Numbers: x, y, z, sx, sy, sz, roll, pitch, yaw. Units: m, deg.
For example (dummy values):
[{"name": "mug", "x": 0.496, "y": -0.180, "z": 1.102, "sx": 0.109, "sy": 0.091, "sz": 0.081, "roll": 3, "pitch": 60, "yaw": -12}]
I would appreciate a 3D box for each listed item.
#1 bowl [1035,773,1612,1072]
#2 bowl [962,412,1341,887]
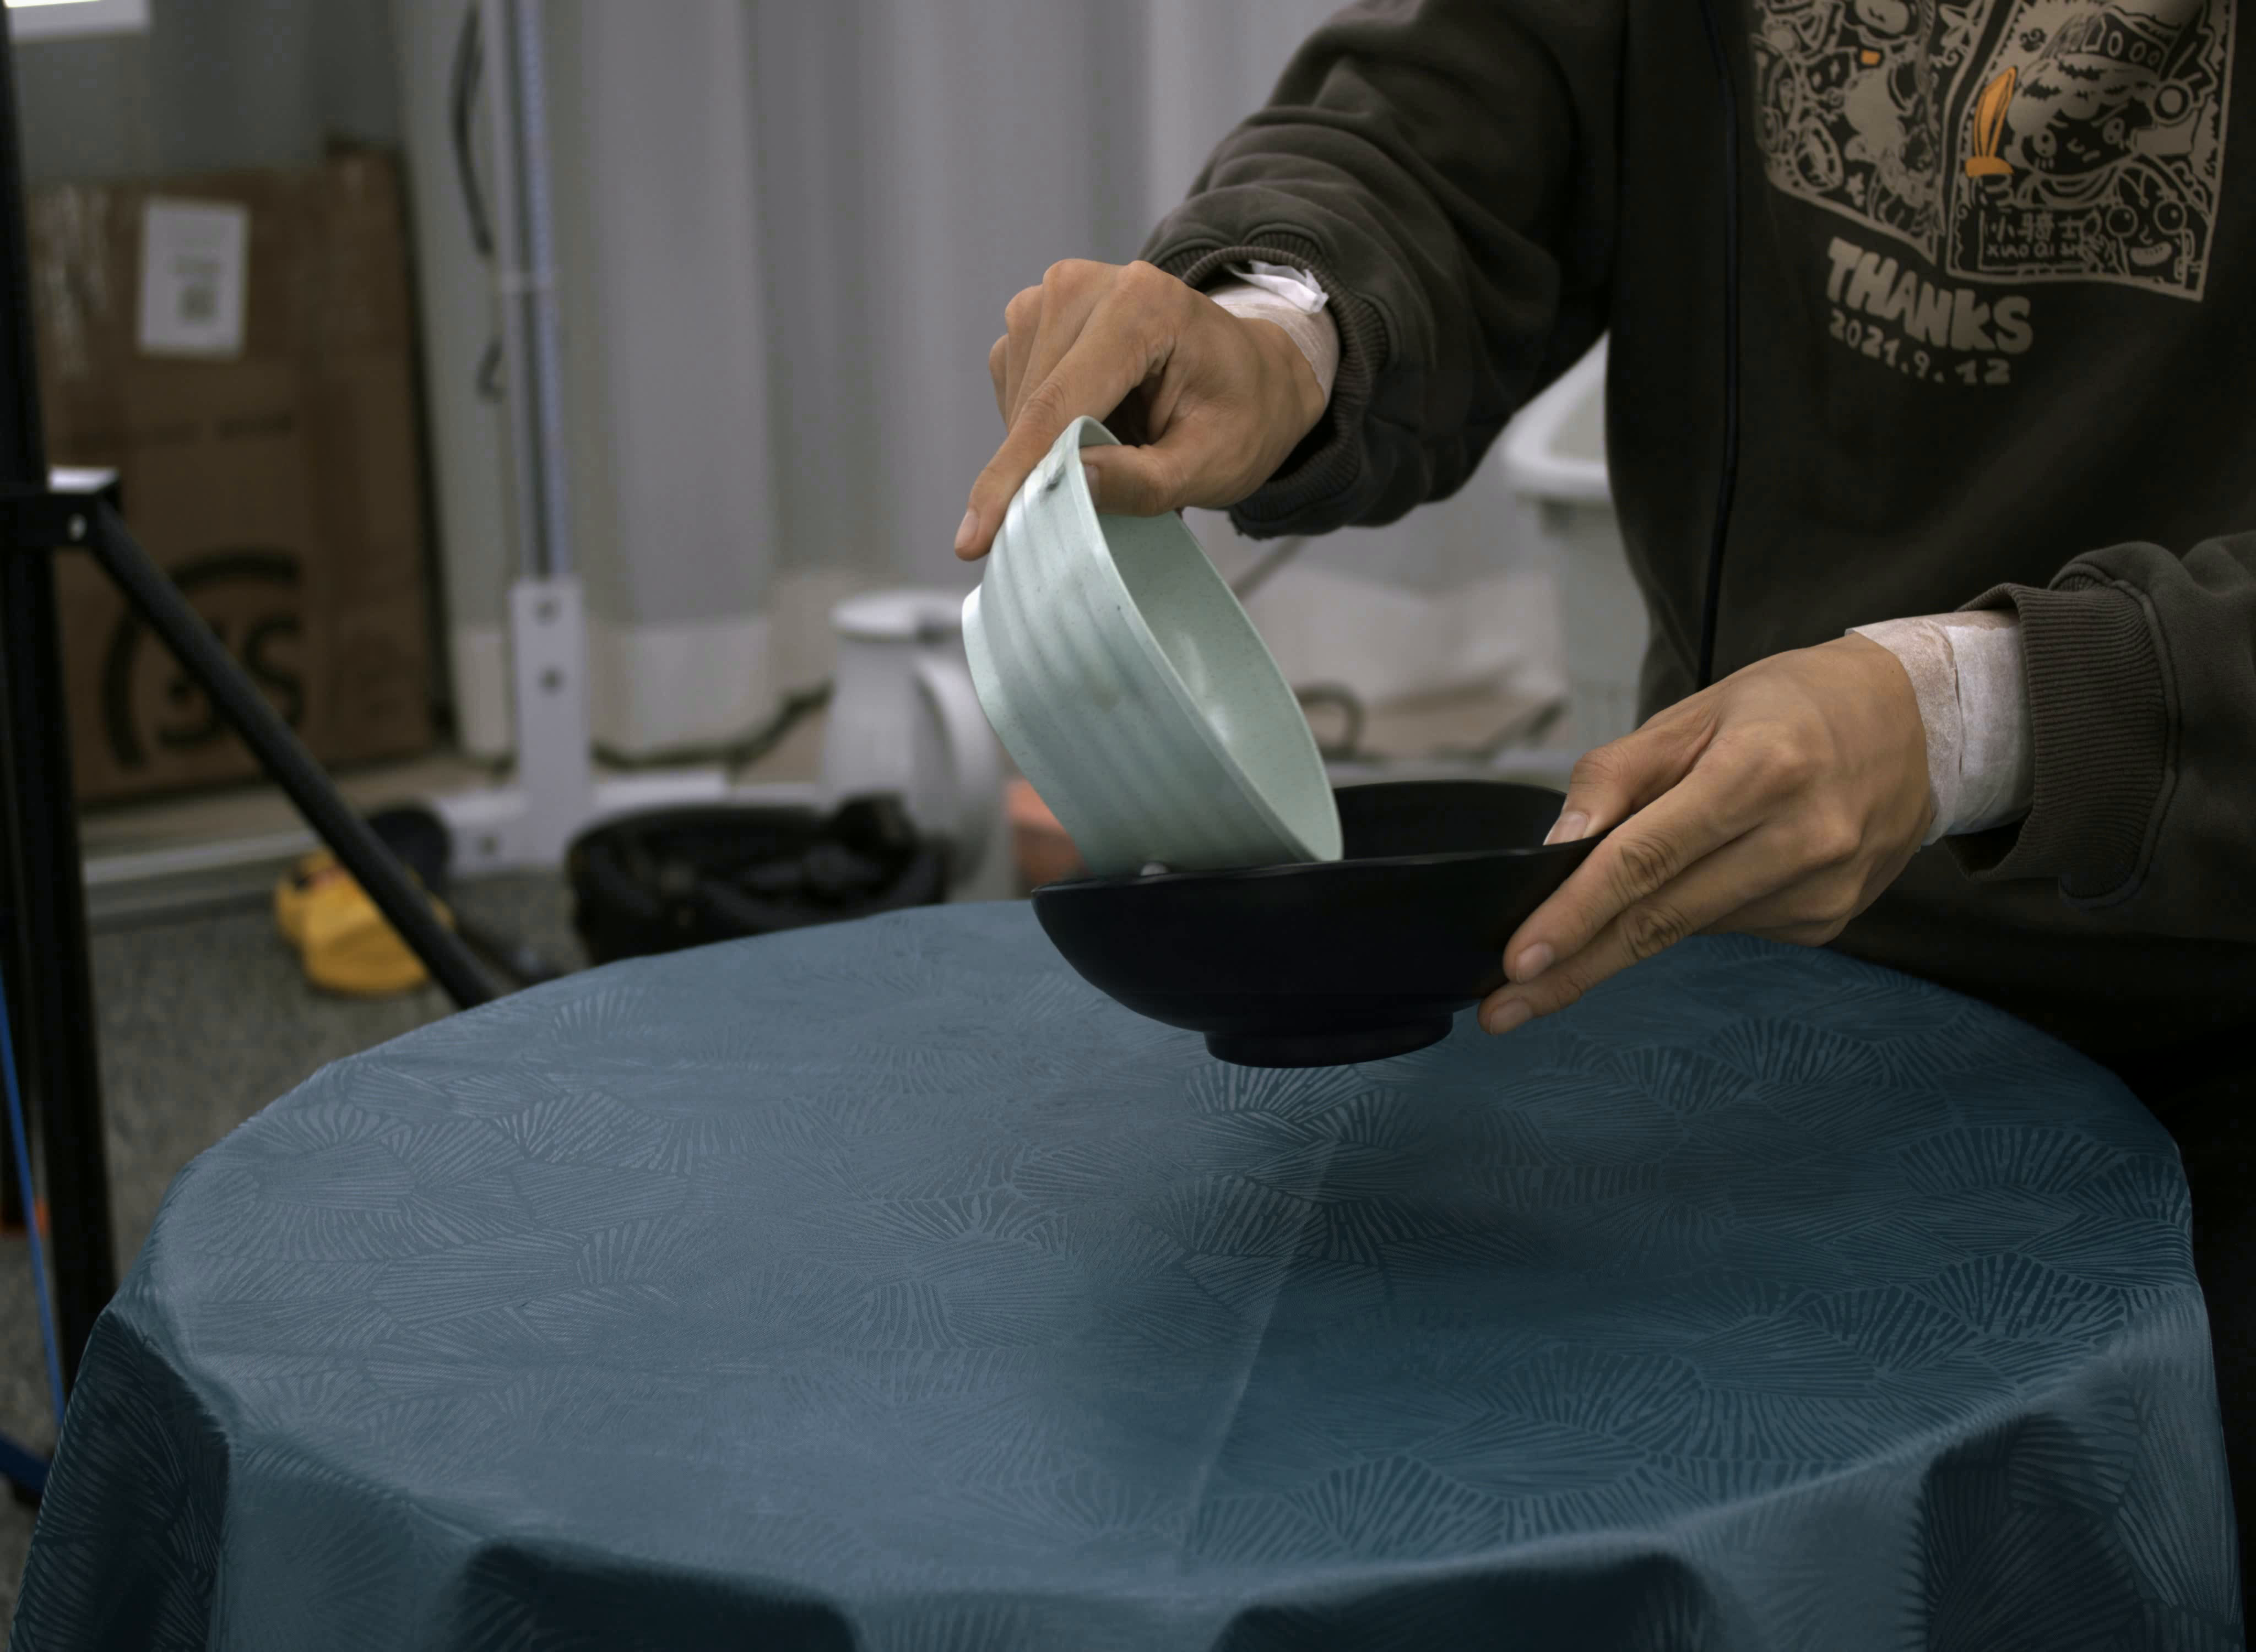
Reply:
[{"name": "bowl", "x": 0.056, "y": 0.031, "z": 1.503, "sx": 0.172, "sy": 0.067, "sz": 0.135, "roll": -4, "pitch": 9, "yaw": 20}, {"name": "bowl", "x": 0.000, "y": -0.039, "z": 1.509, "sx": 0.059, "sy": 0.151, "sz": 0.151, "roll": -31, "pitch": 10, "yaw": 14}]
